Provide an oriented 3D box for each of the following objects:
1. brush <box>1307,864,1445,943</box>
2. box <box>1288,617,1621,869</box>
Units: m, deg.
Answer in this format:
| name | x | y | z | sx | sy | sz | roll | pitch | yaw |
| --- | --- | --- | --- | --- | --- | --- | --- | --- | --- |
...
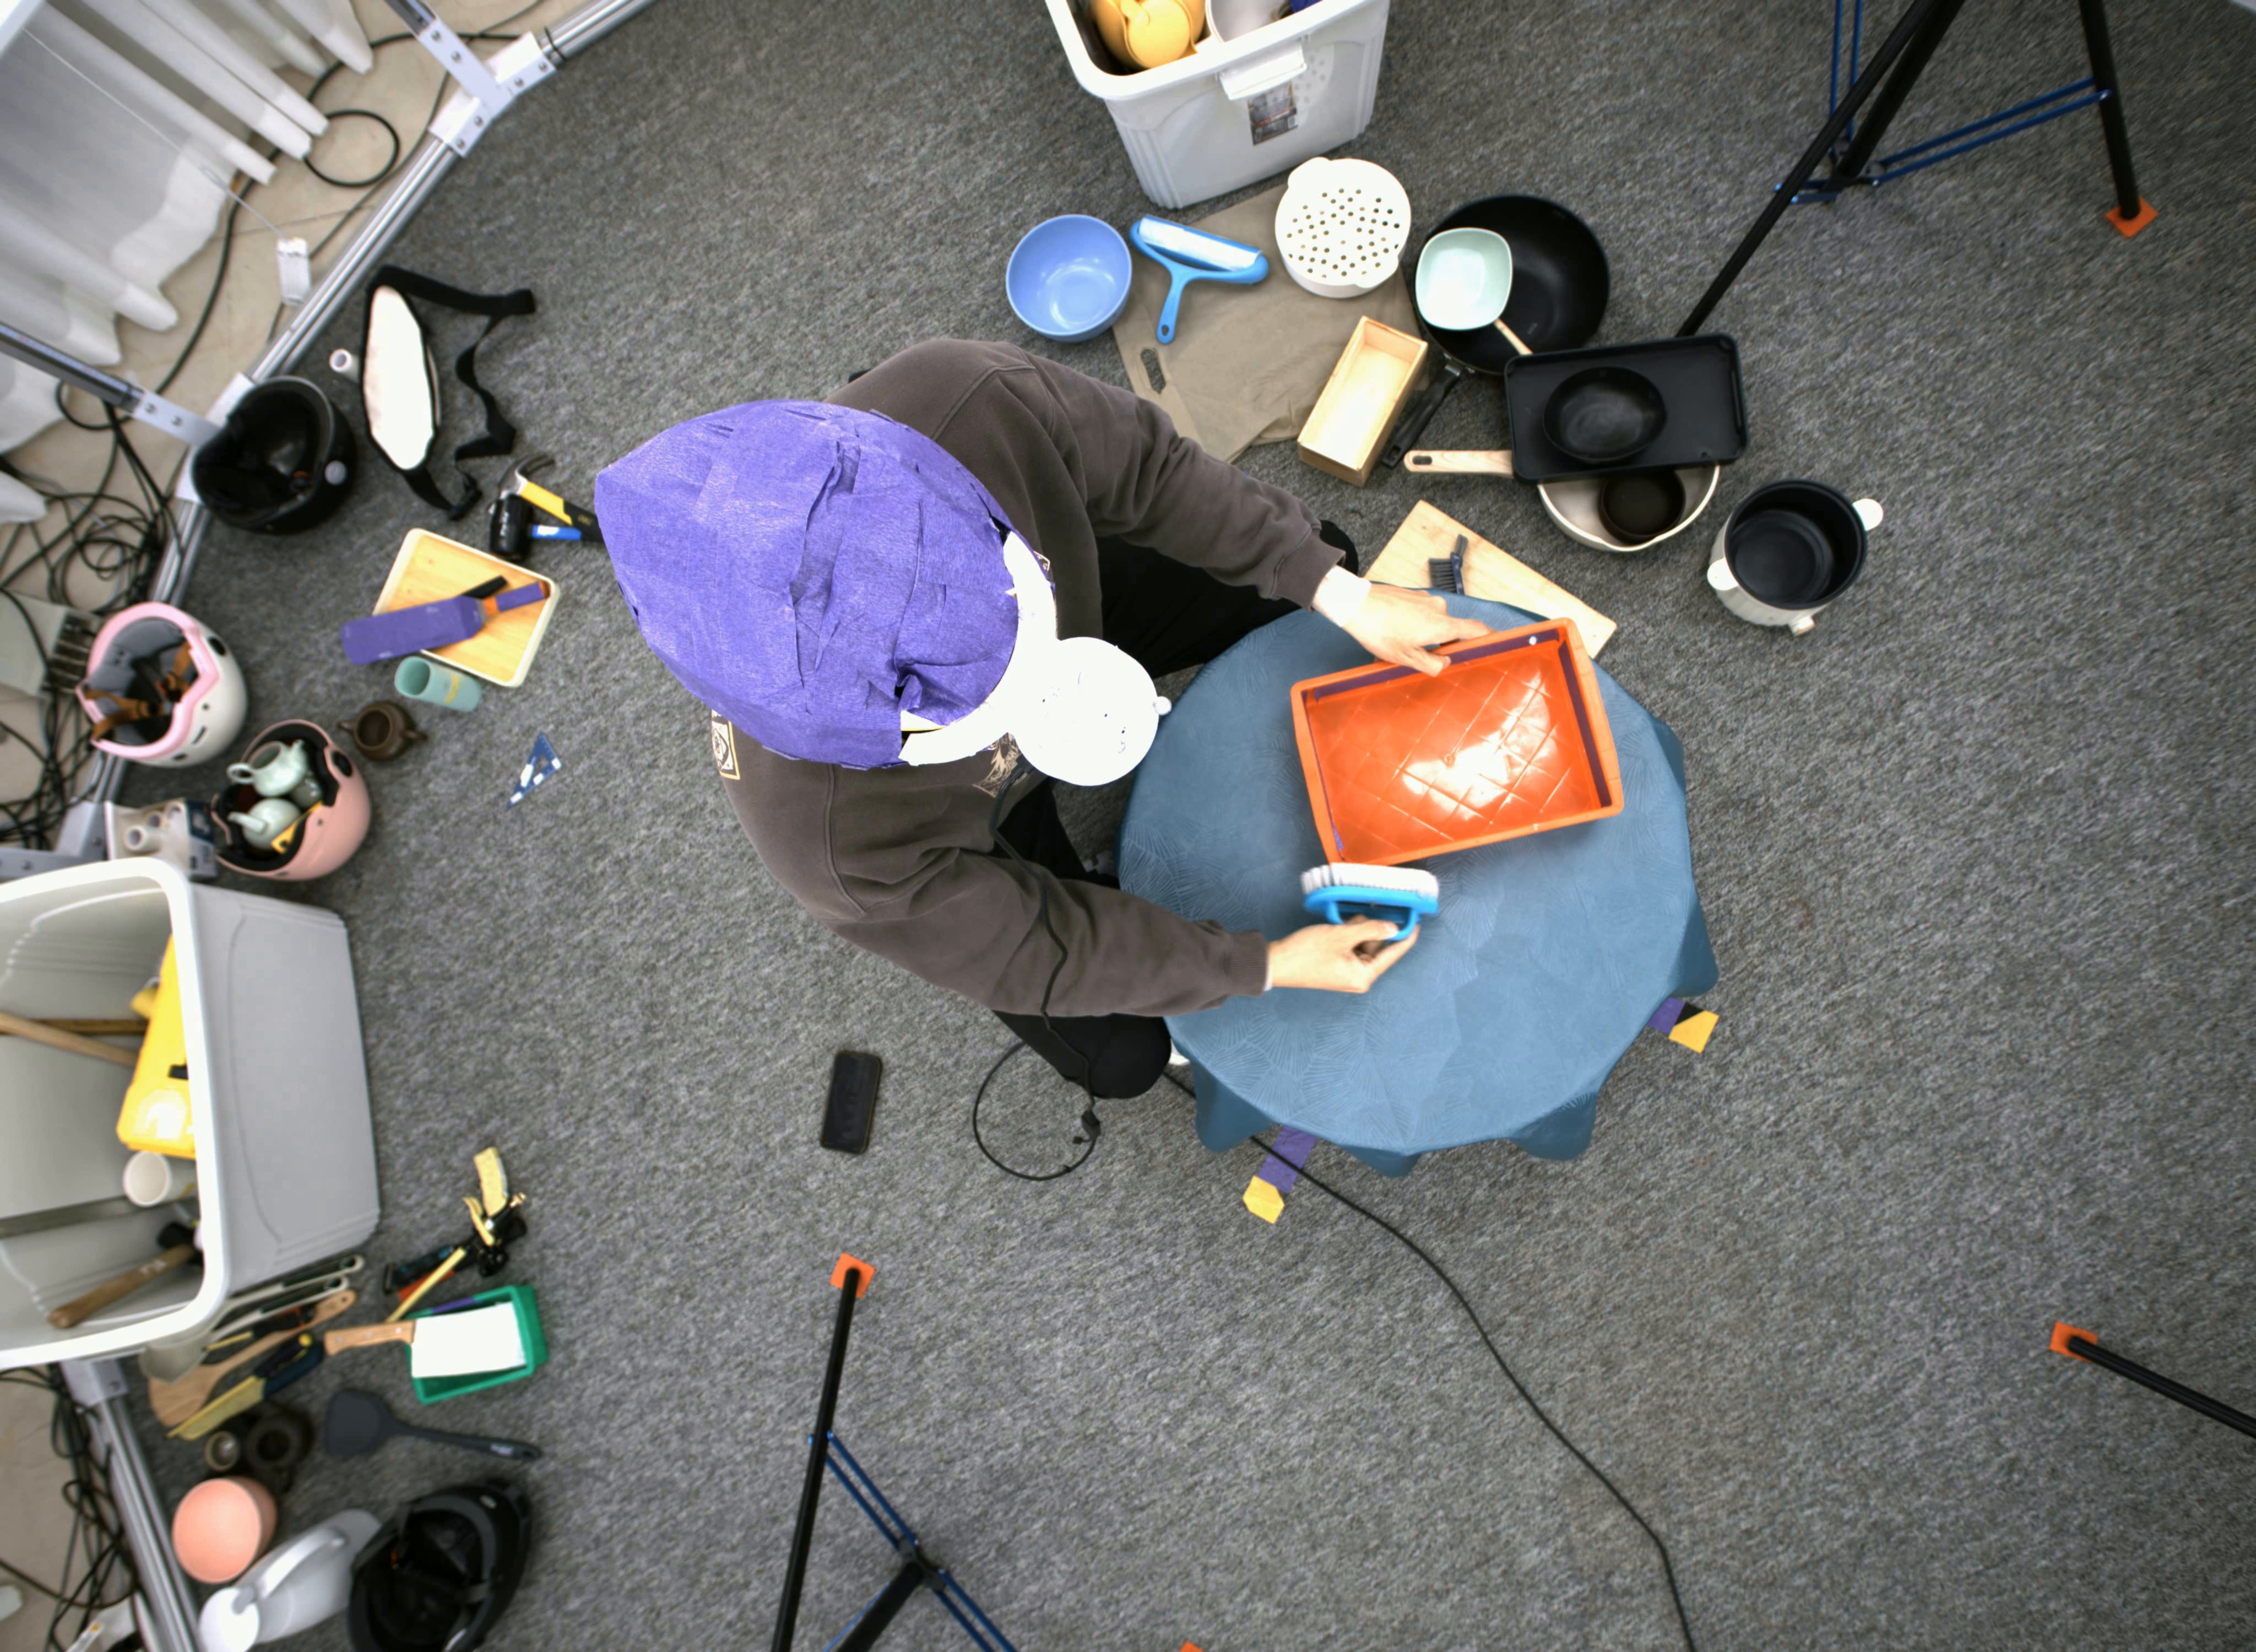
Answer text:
| name | x | y | z | sx | sy | sz | roll | pitch | yaw |
| --- | --- | --- | --- | --- | --- | --- | --- | --- | --- |
| brush | 0.246 | 0.082 | 1.379 | 0.142 | 0.086 | 0.063 | 7 | 71 | -12 |
| box | 0.329 | -0.077 | 1.410 | 0.305 | 0.096 | 0.205 | -13 | 85 | 9 |
